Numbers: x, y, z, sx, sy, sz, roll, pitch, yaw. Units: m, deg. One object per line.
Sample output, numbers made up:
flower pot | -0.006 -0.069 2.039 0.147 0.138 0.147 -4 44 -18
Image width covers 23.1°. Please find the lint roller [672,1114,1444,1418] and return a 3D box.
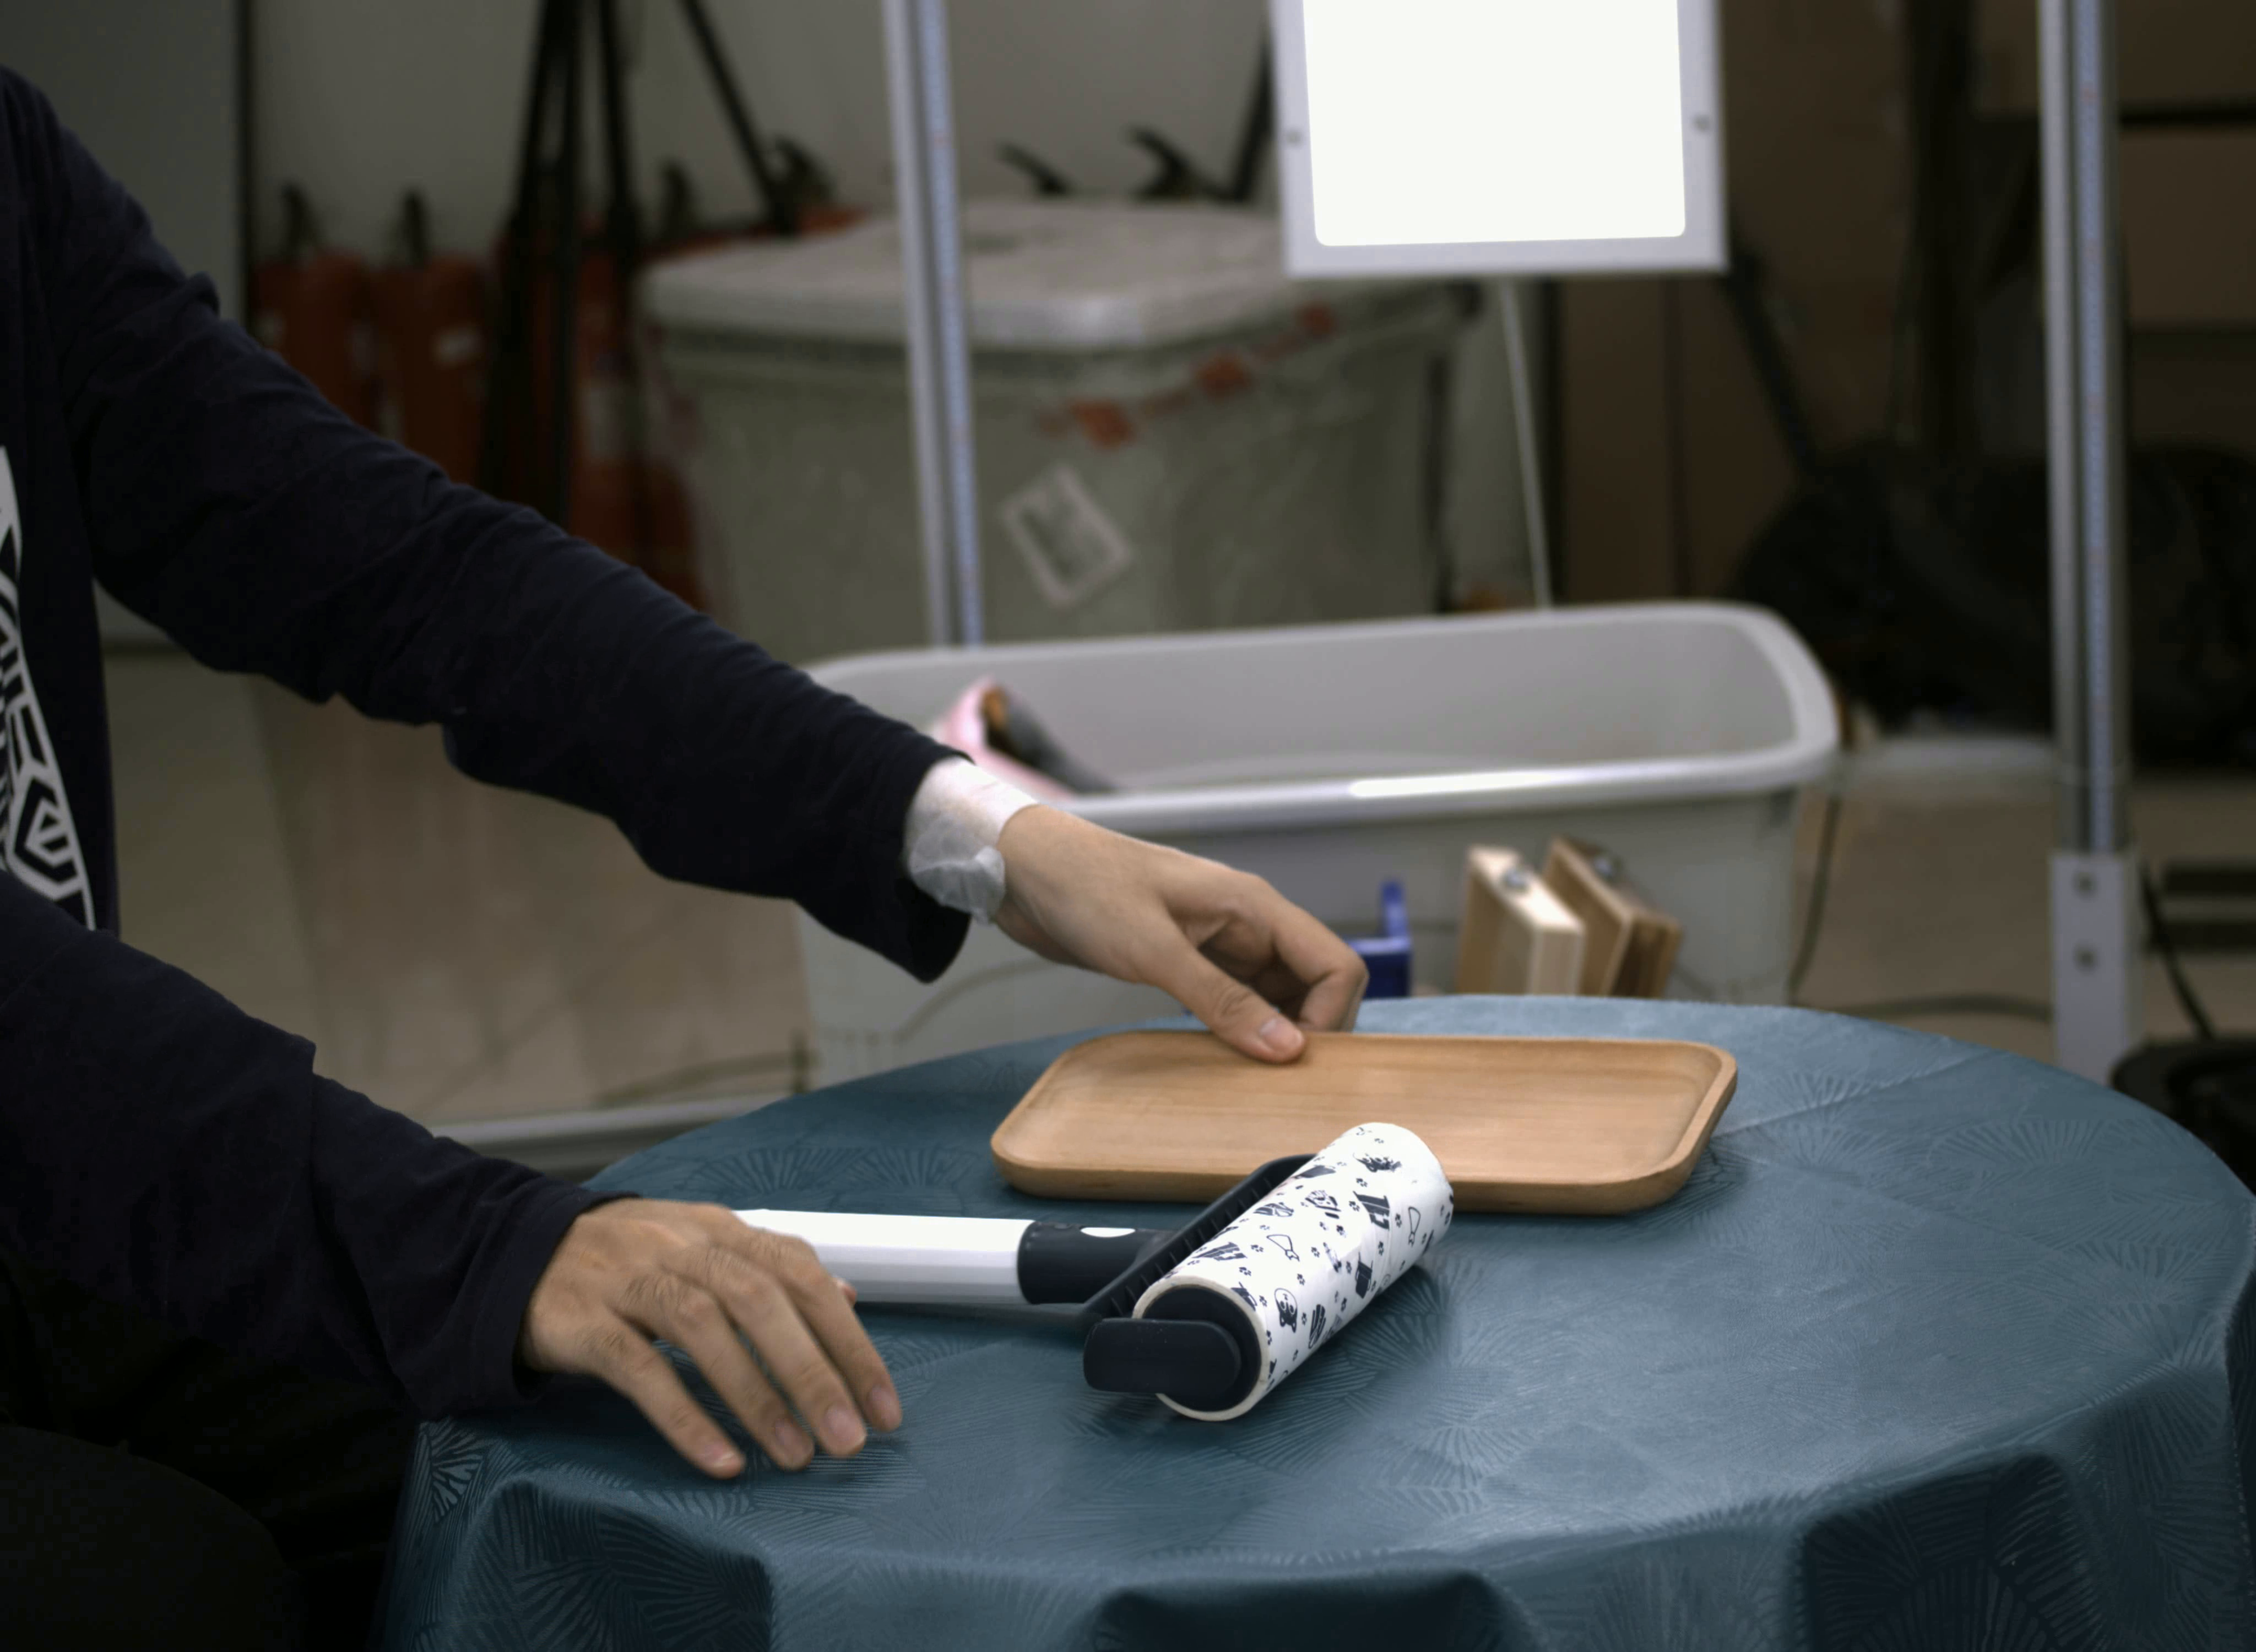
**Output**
lint roller | -0.039 0.141 1.778 0.251 0.050 0.173 -2 15 26

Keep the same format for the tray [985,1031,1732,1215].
tray | 0.081 0.103 1.915 0.254 0.023 0.128 0 17 23
